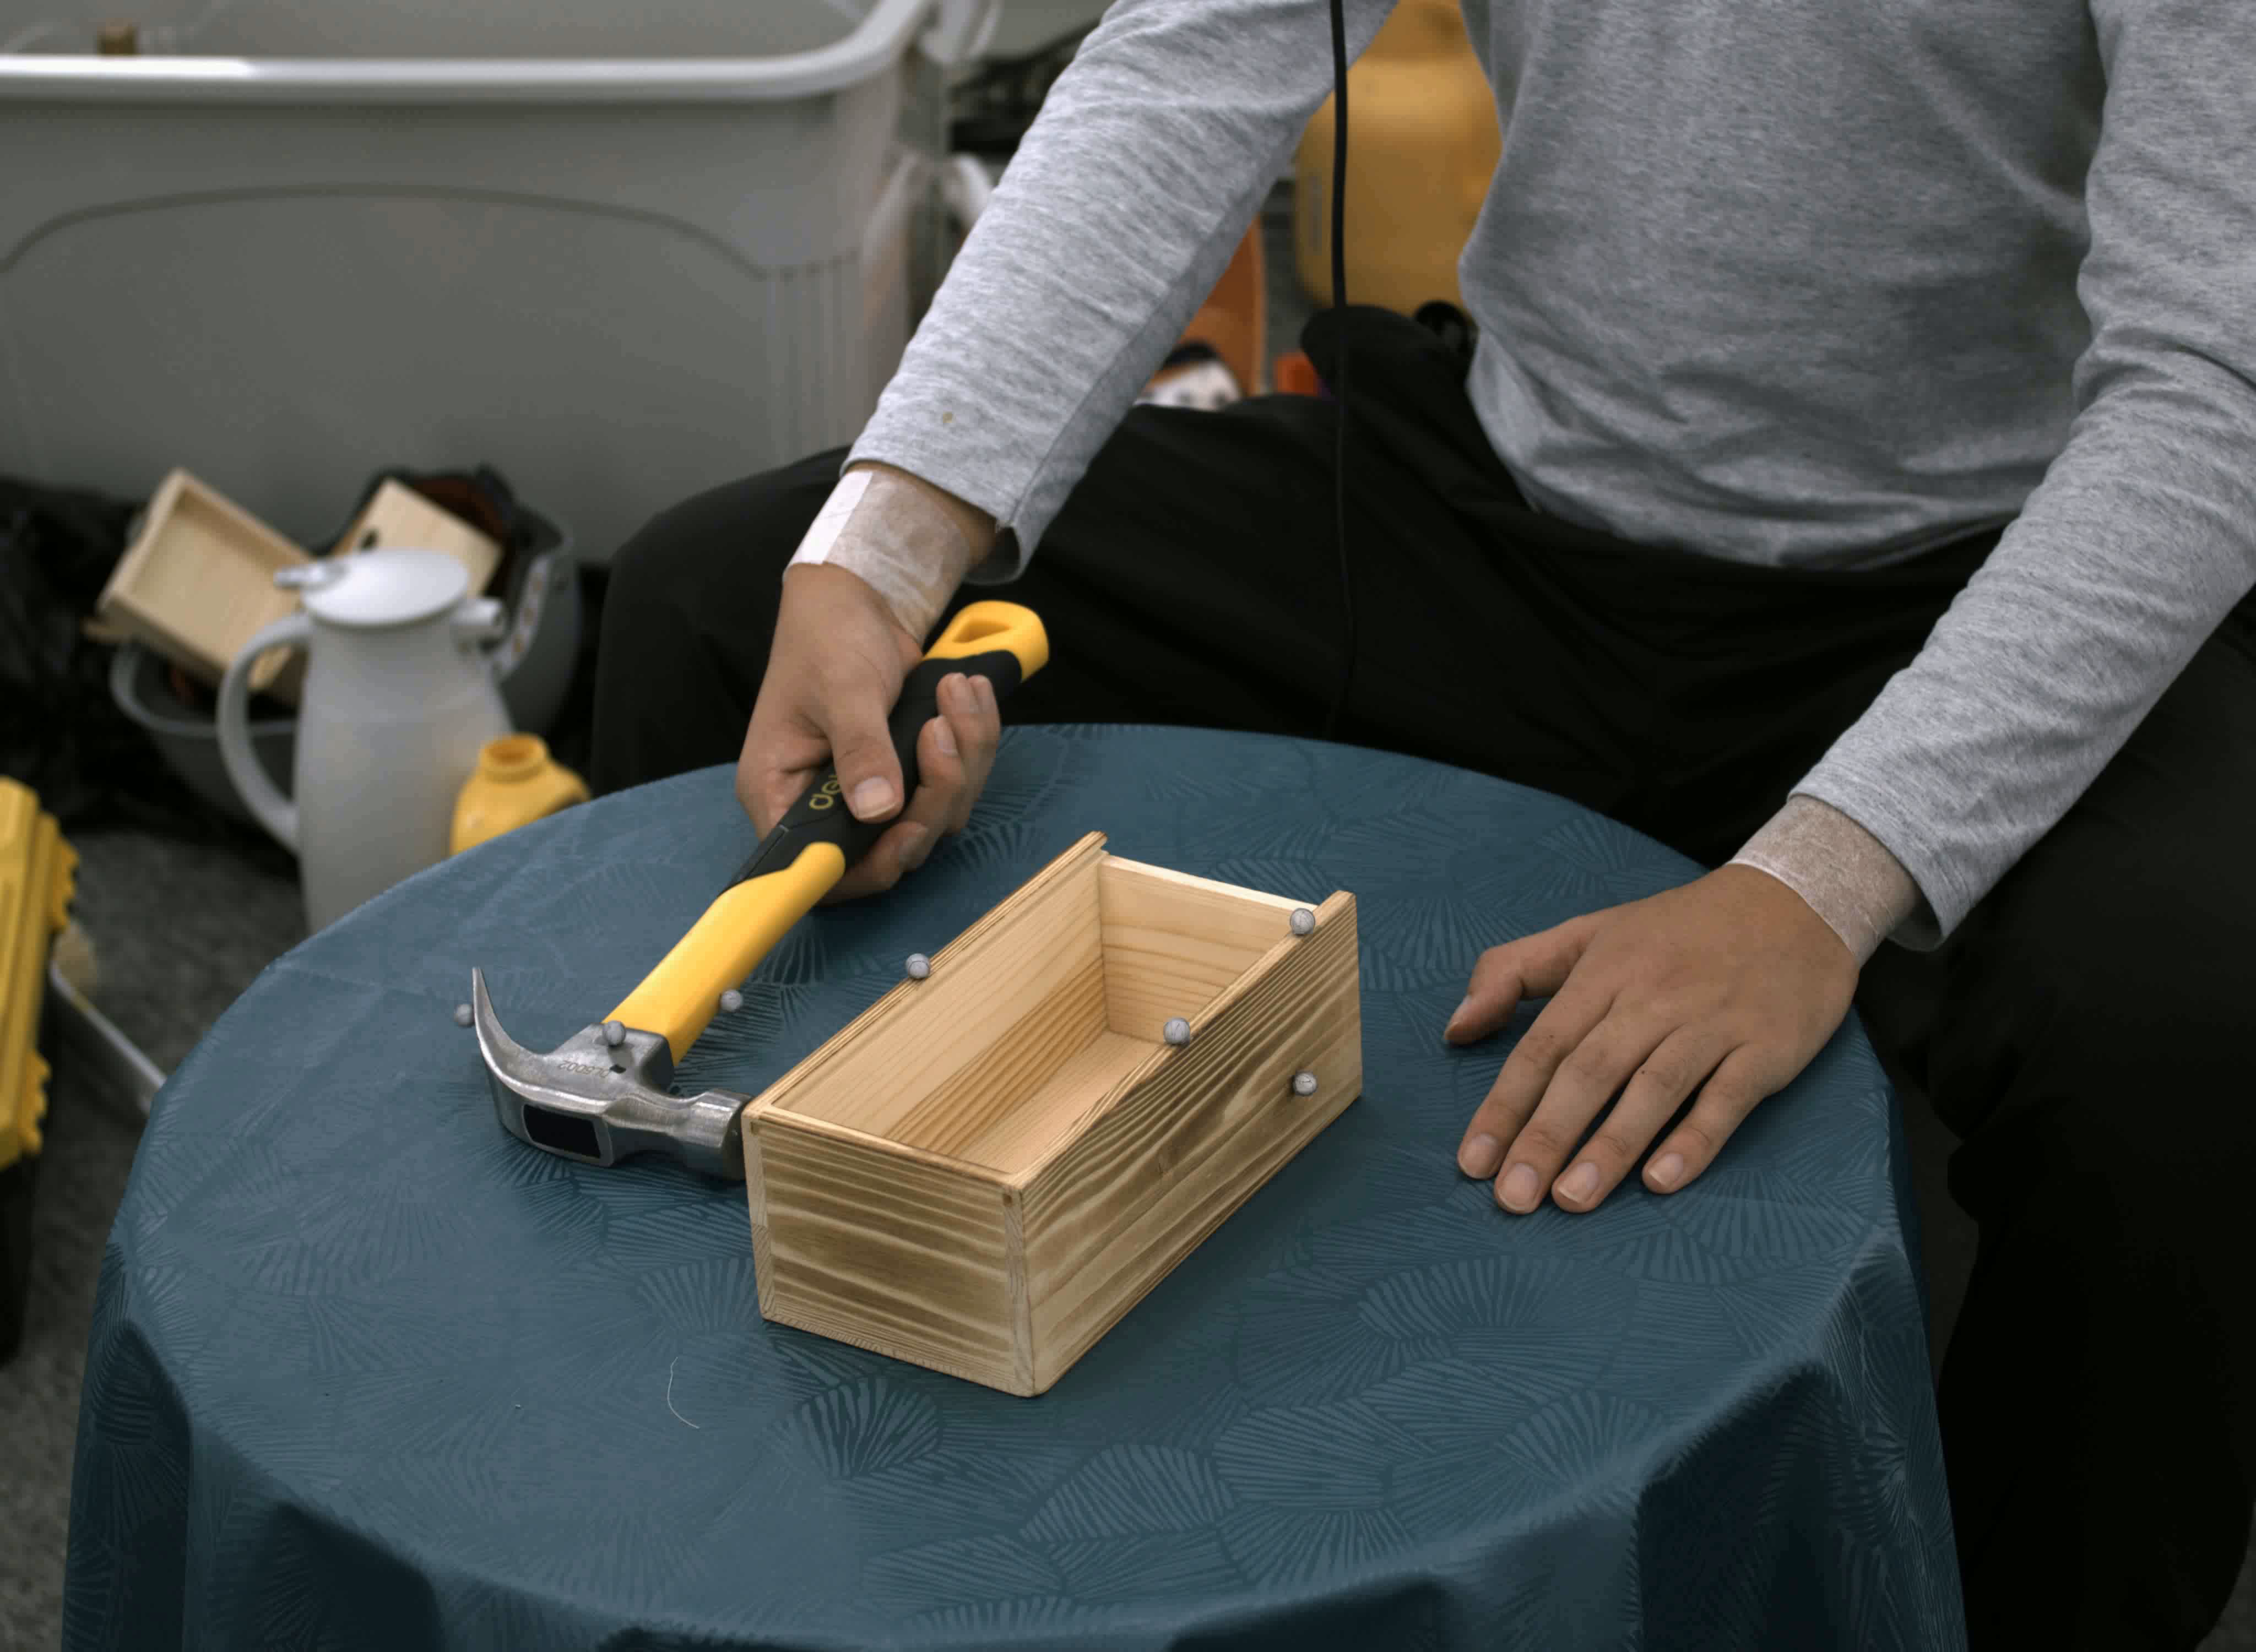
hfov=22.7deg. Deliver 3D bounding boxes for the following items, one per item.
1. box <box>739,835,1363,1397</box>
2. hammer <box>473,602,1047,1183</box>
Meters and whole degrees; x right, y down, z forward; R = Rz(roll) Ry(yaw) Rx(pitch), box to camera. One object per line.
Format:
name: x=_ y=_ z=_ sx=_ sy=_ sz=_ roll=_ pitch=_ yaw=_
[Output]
box: x=-0.022 y=0.091 z=1.841 sx=0.107 sy=0.079 sz=0.215 roll=12 pitch=31 yaw=29
hammer: x=-0.118 y=0.013 z=2.017 sx=0.130 sy=0.032 sz=0.345 roll=9 pitch=36 yaw=25
